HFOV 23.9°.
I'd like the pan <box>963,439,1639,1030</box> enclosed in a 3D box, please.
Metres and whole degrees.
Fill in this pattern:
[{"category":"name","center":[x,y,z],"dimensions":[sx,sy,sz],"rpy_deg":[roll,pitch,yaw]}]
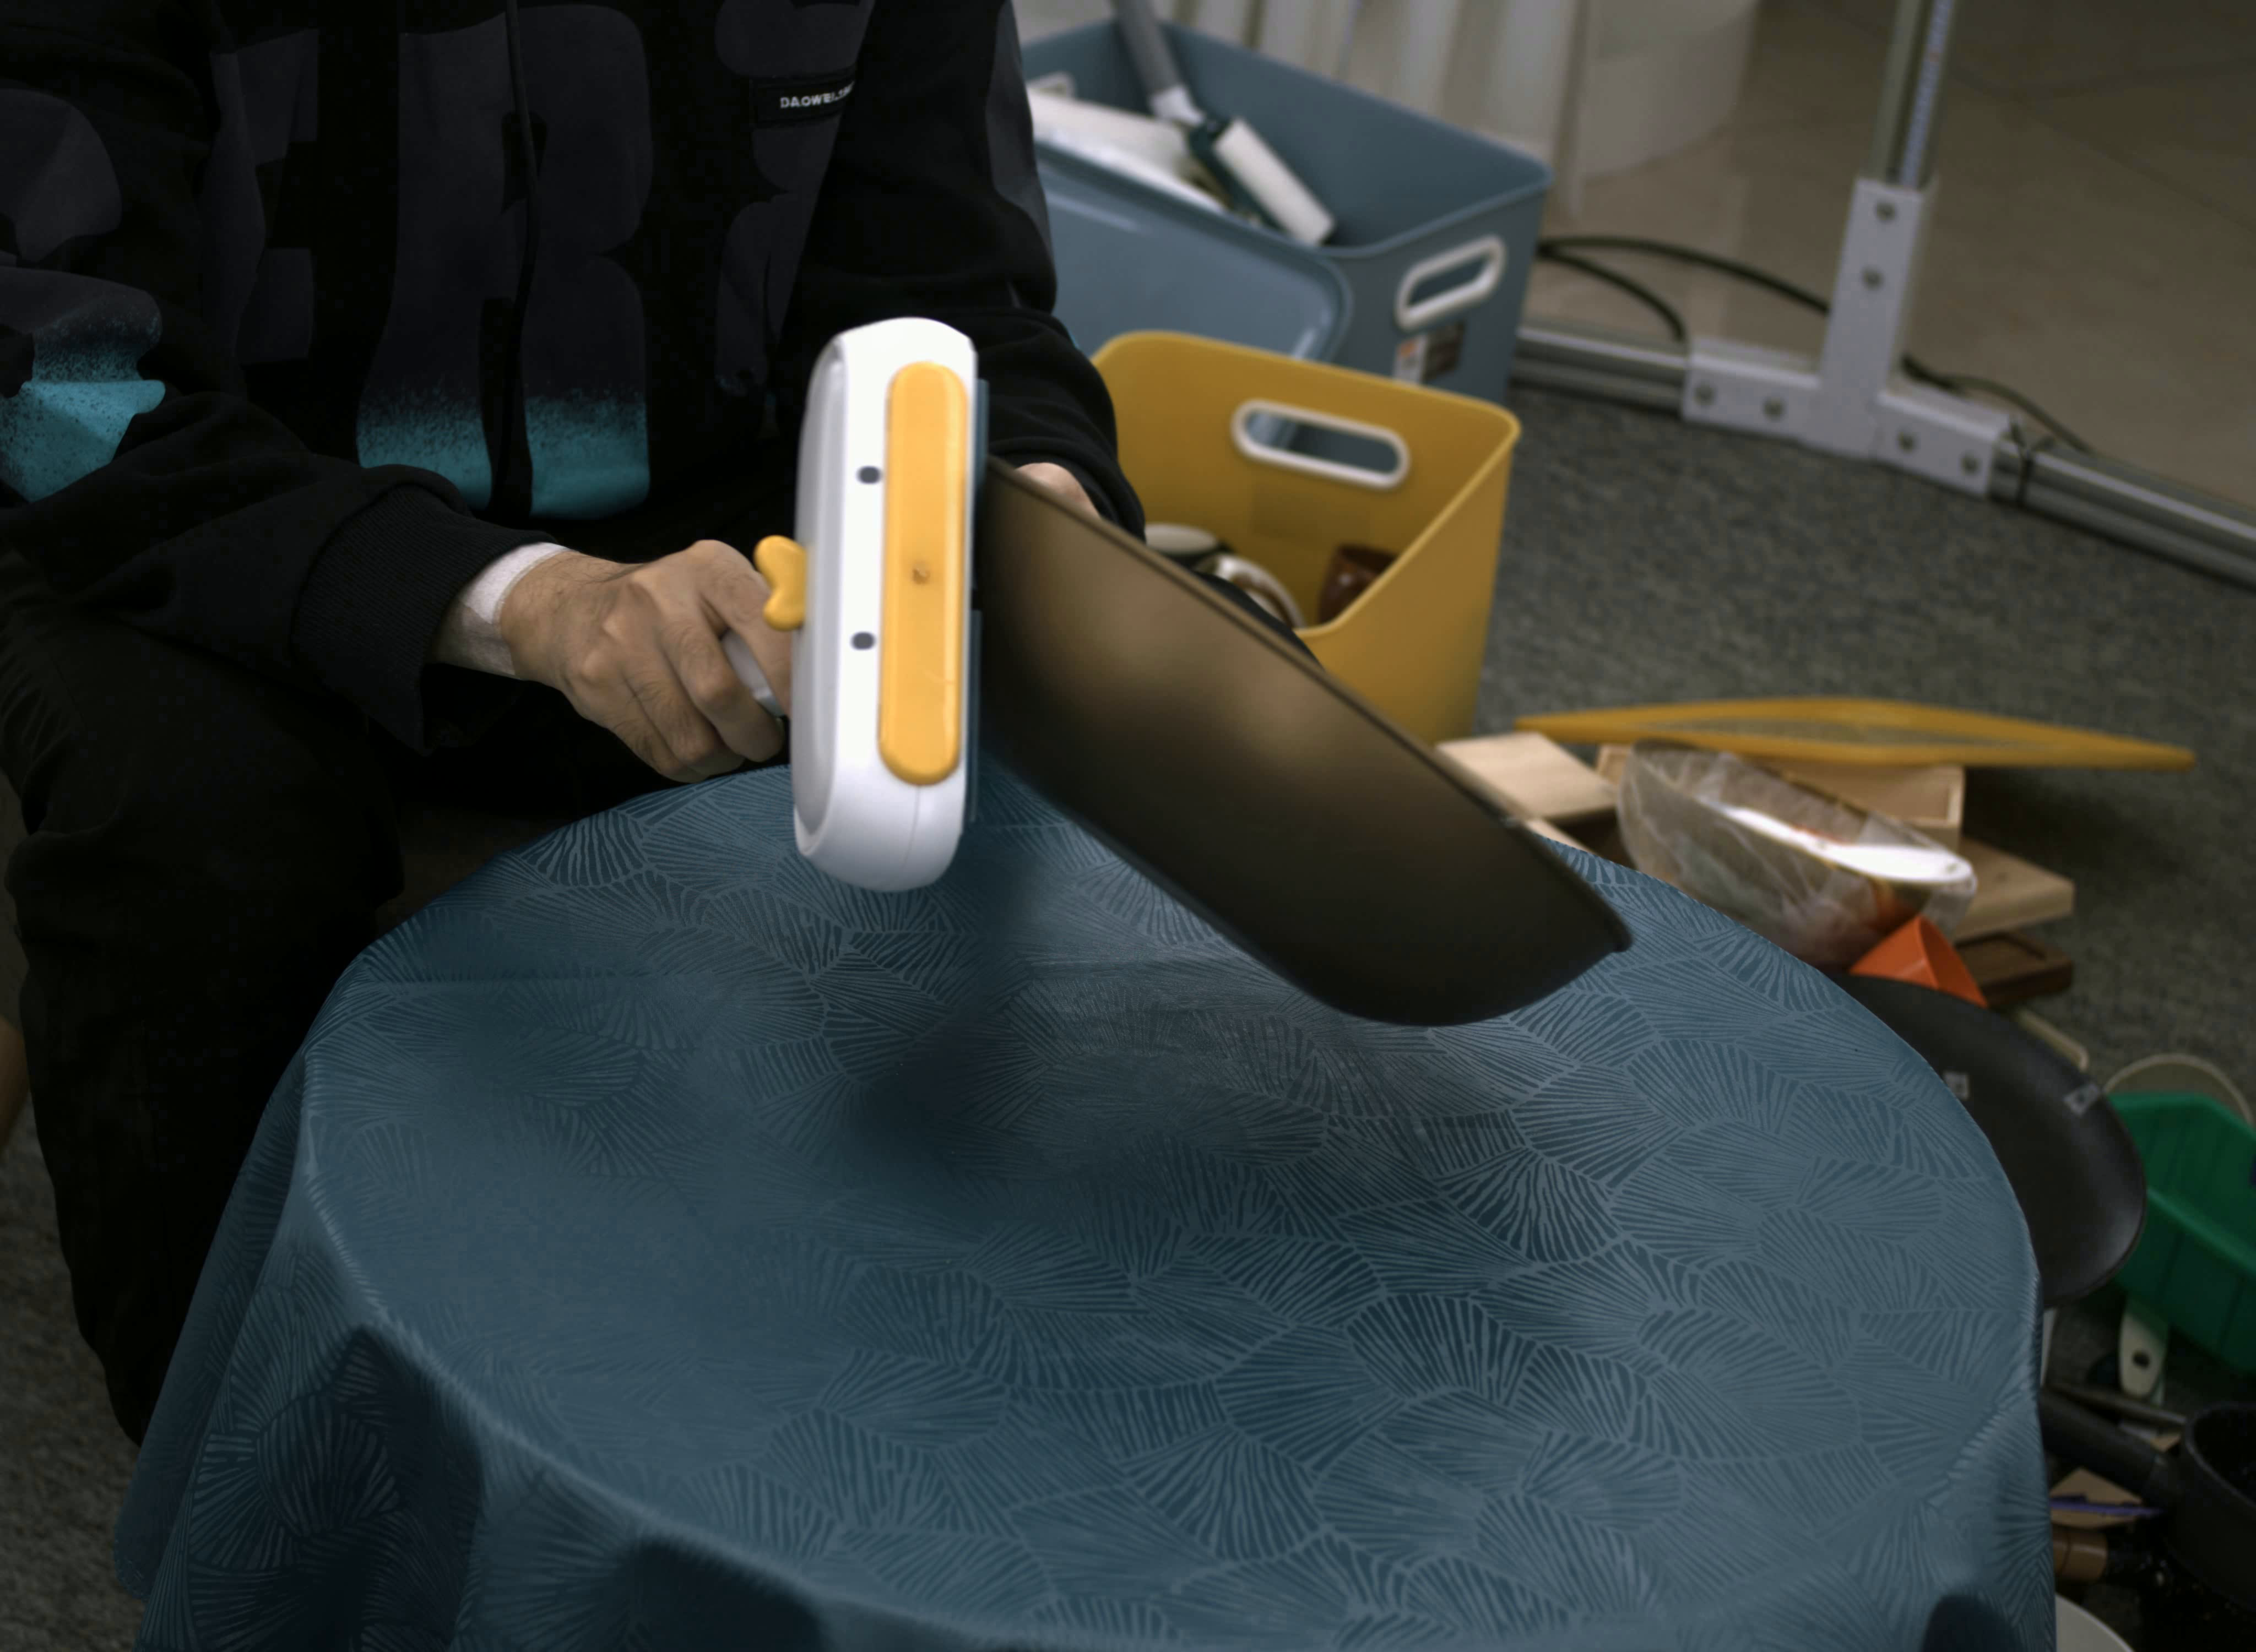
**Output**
[{"category":"pan","center":[0.000,-0.038,1.885],"dimensions":[0.286,0.087,0.467],"rpy_deg":[39,-4,-29]}]

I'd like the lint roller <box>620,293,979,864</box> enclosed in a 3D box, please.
[{"category":"lint roller","center":[-0.111,-0.063,1.794],"dimensions":[0.073,0.192,0.194],"rpy_deg":[6,68,-26]}]
